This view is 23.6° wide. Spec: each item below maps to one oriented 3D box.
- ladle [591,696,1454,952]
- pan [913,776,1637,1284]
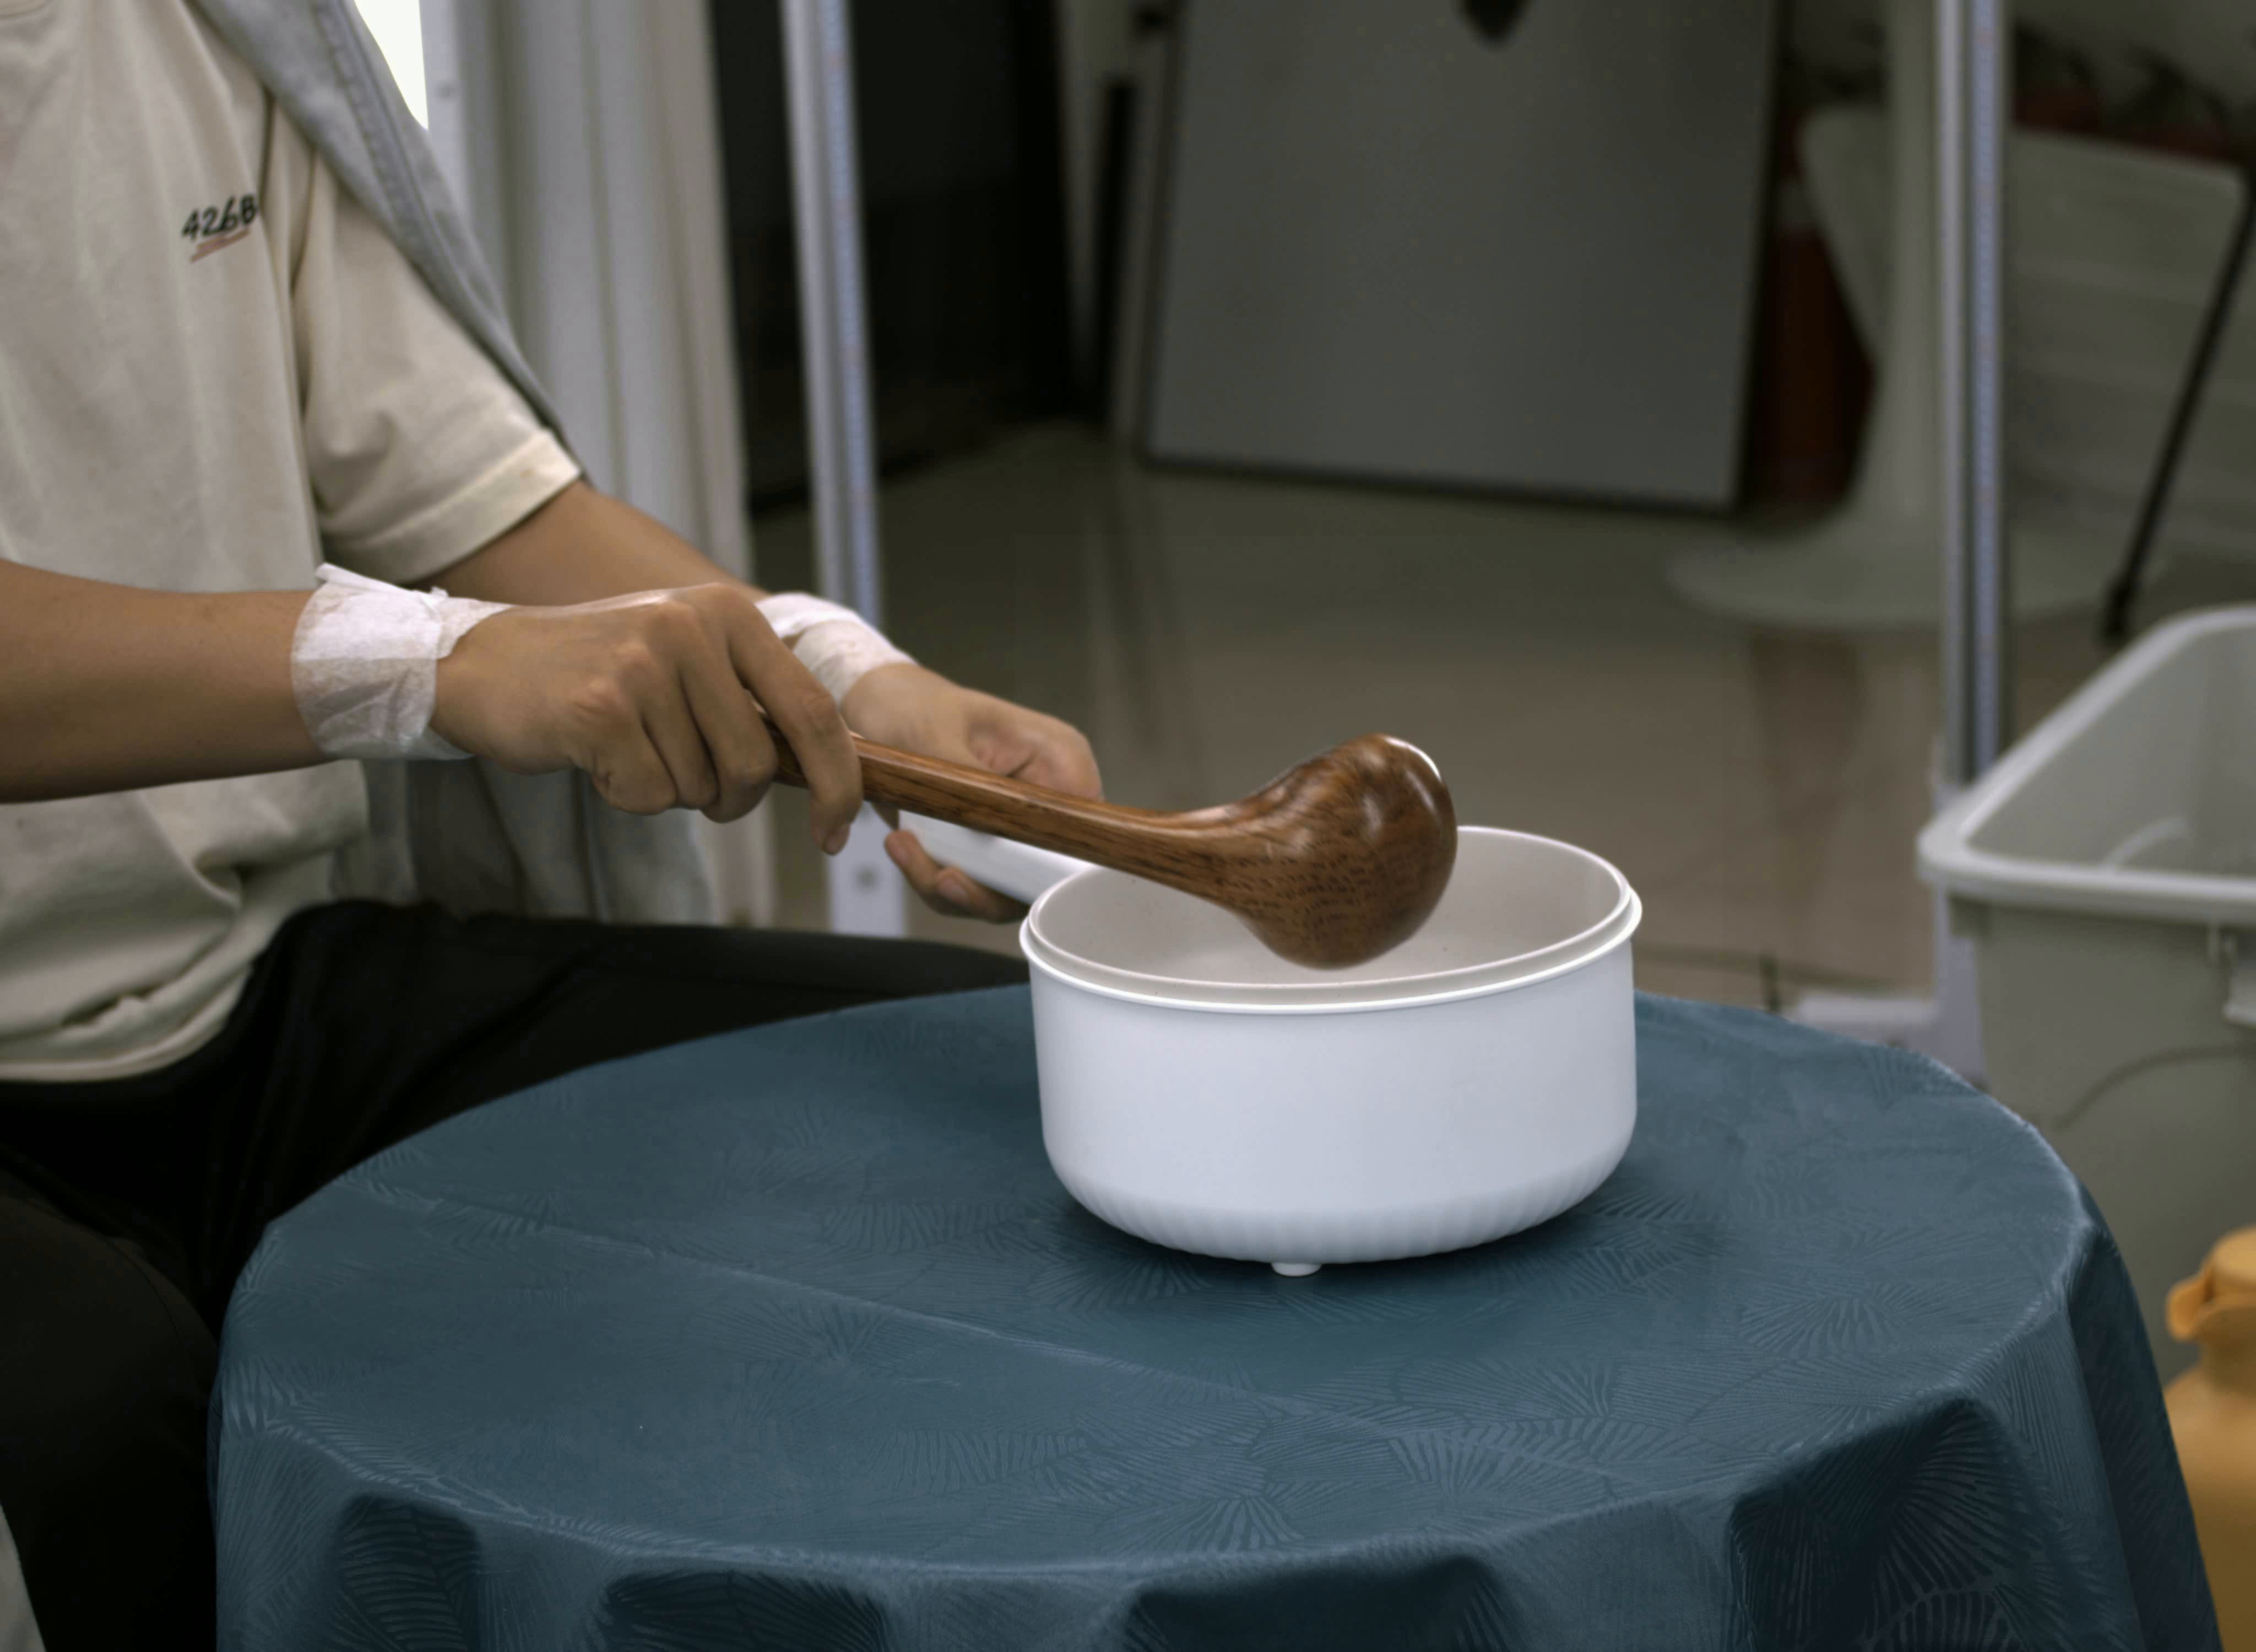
[{"bbox_3d":[-0.031,-0.016,1.722,0.272,0.083,0.076,10,13,11],"label":"ladle"},{"bbox_3d":[0.028,0.061,1.805,0.197,0.103,0.358,-13,16,-28],"label":"pan"}]
